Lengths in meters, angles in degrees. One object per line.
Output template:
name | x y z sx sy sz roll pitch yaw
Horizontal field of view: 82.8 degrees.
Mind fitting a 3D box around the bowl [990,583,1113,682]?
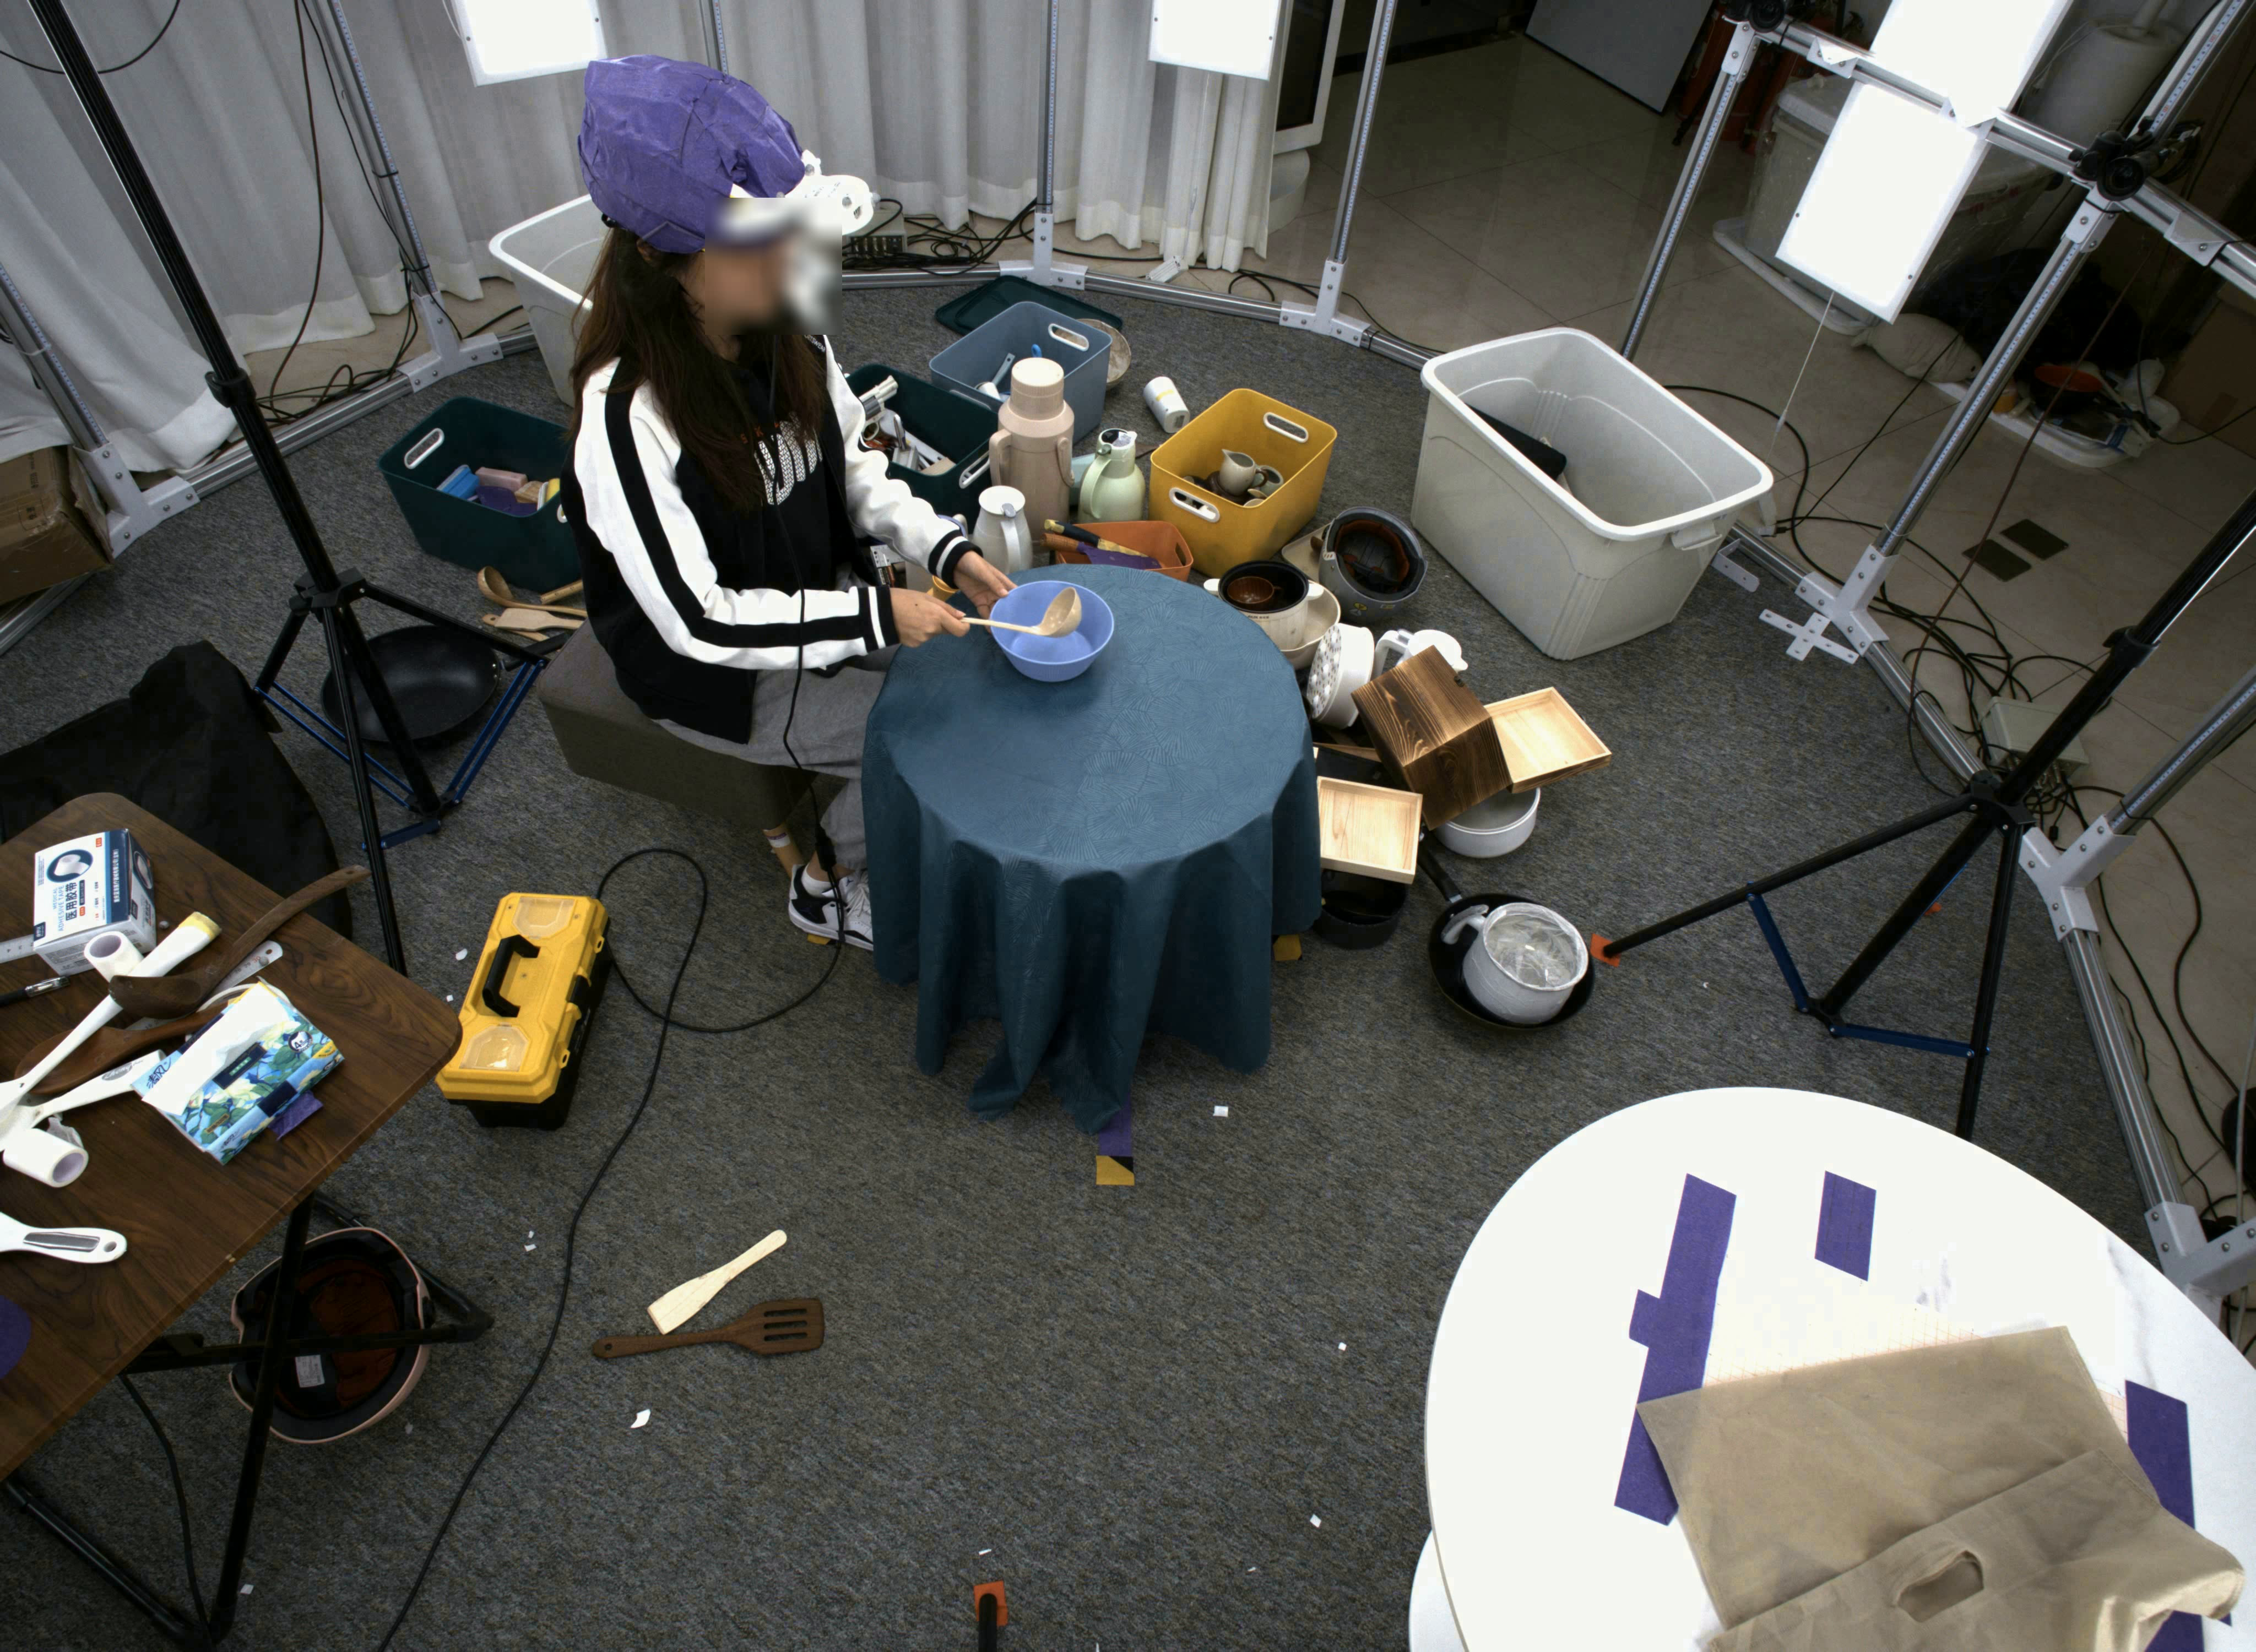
bowl | -0.110 -0.269 1.851 0.176 0.068 0.180 2 48 -3

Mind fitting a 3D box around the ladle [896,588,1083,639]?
ladle | -0.186 -0.300 1.765 0.253 0.071 0.074 1 30 -21
